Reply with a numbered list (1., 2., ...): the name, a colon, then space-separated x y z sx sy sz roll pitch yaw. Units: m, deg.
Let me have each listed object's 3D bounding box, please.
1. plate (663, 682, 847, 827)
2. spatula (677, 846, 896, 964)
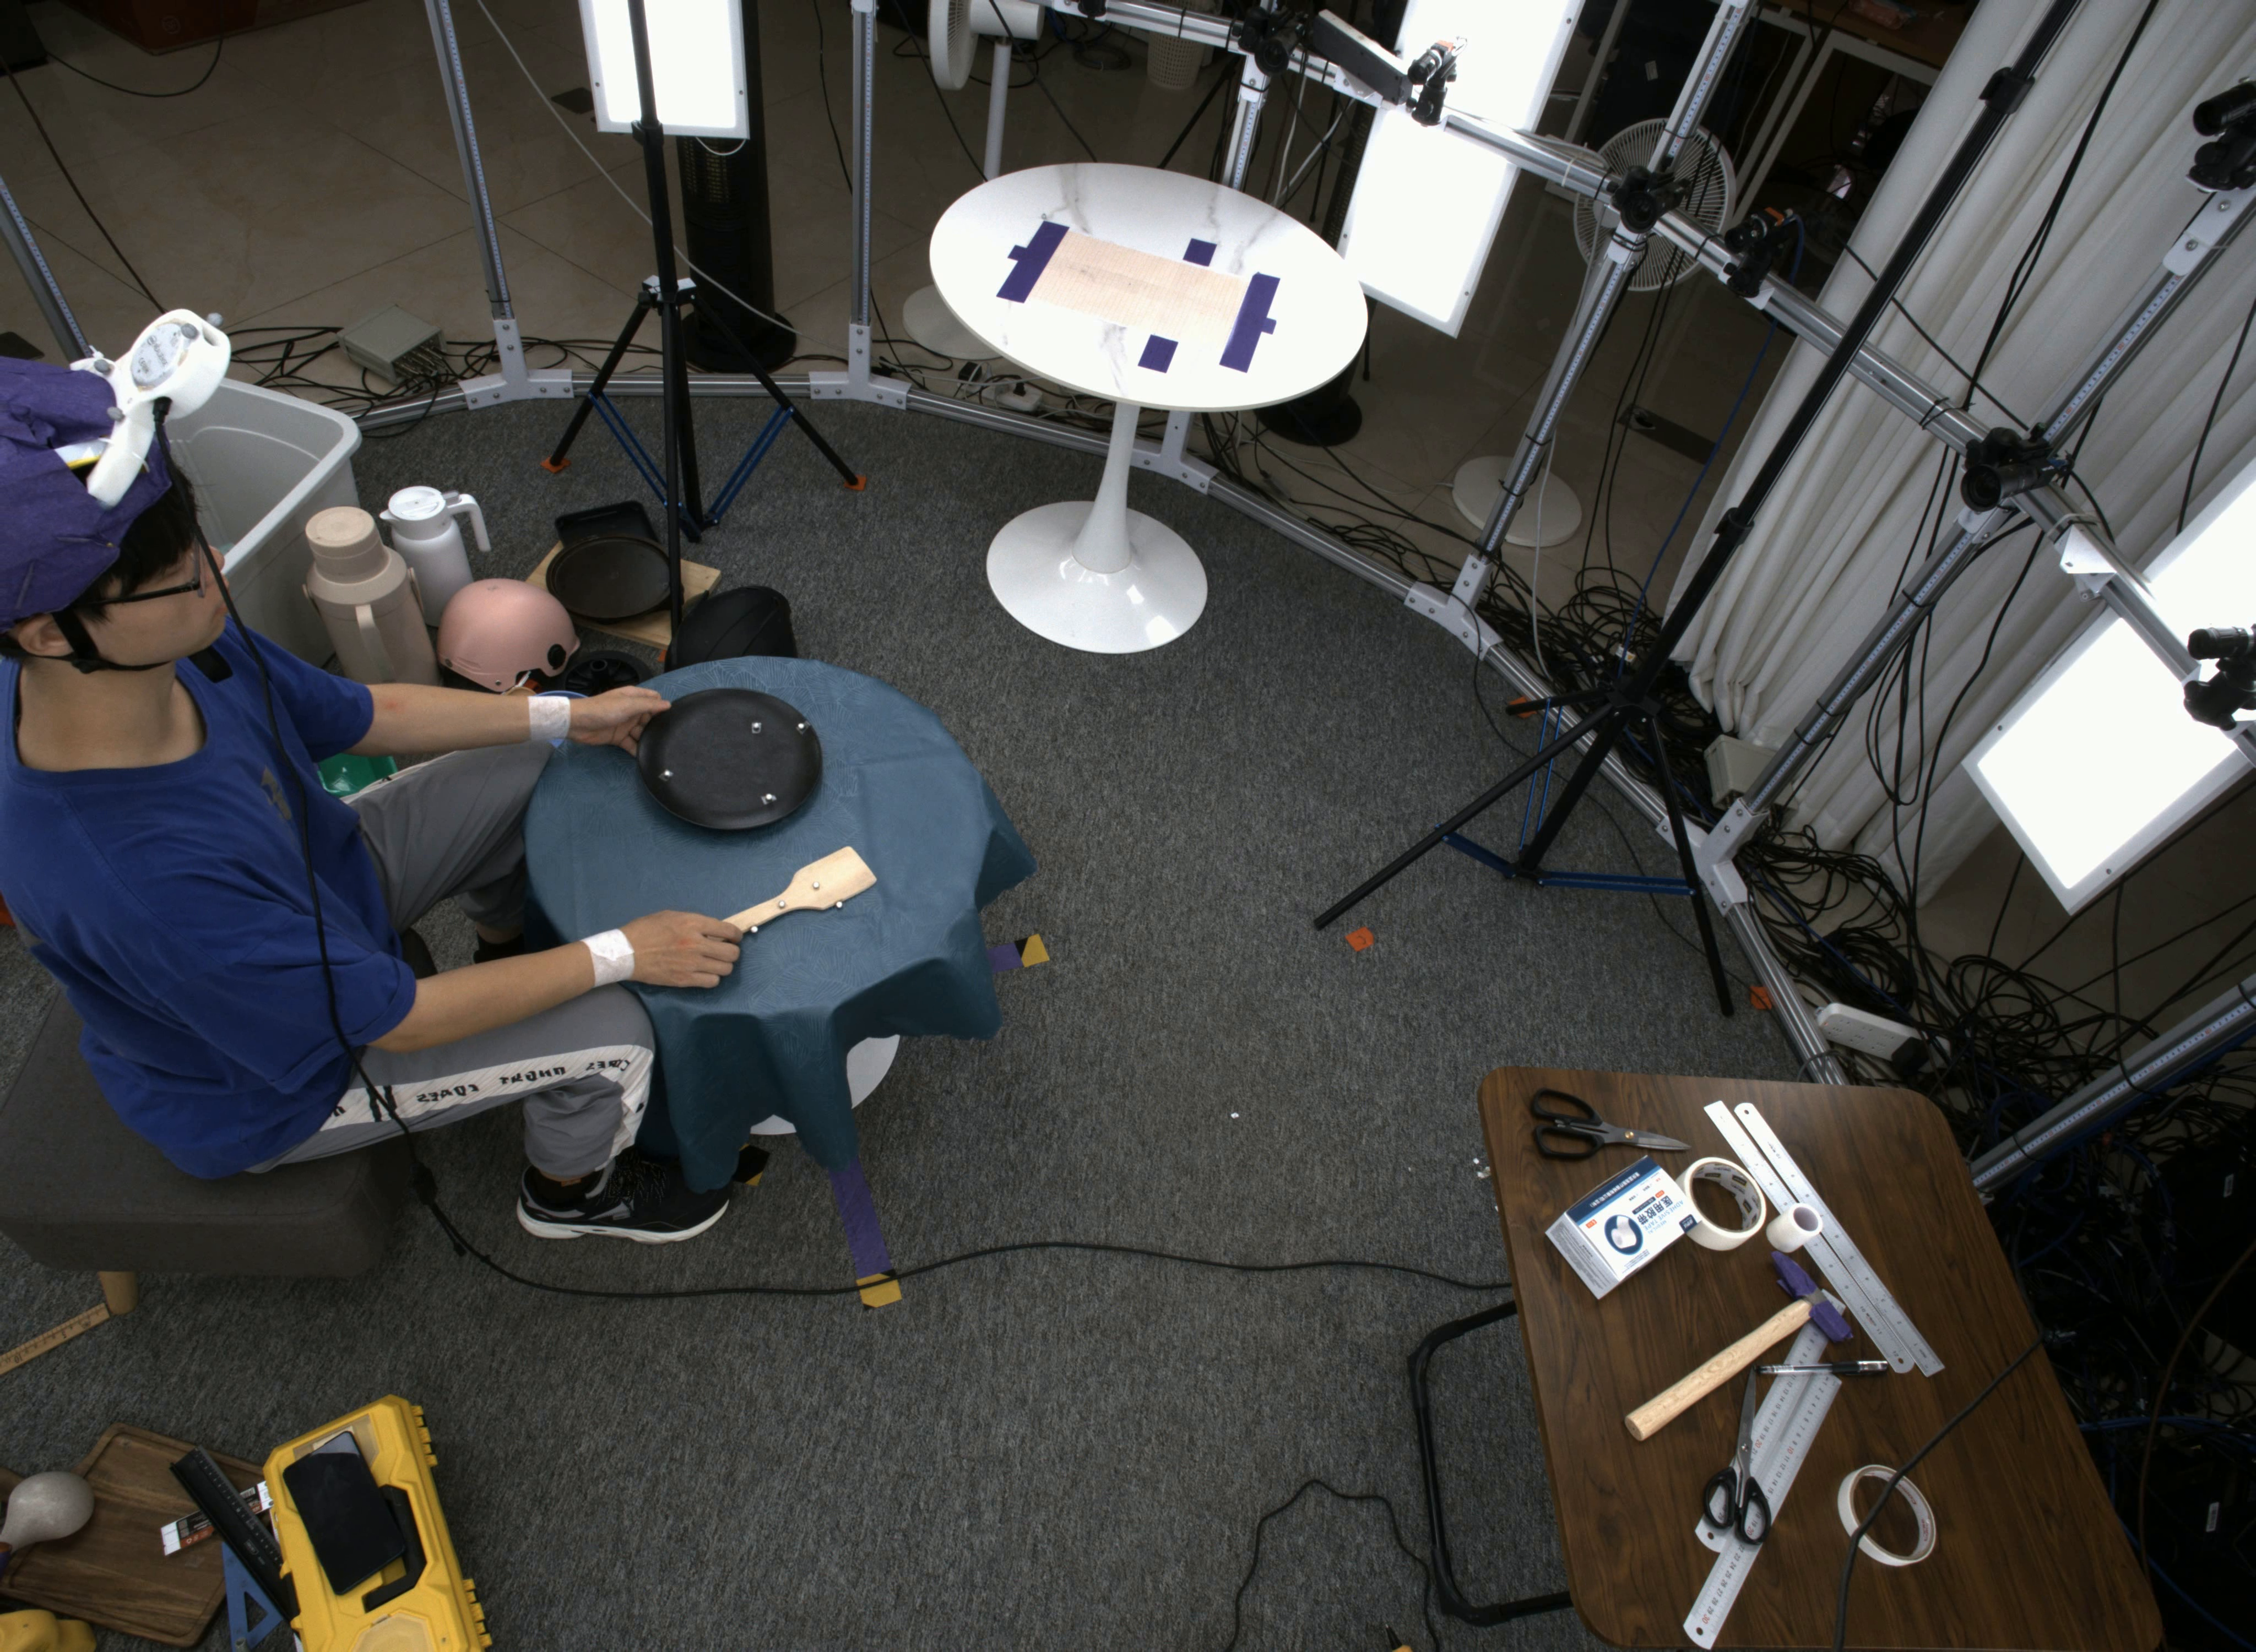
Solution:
1. plate: -0.506 -0.095 1.758 0.245 0.024 0.240 10 55 -13
2. spatula: -0.433 0.103 1.642 0.294 0.011 0.070 -26 64 -33
